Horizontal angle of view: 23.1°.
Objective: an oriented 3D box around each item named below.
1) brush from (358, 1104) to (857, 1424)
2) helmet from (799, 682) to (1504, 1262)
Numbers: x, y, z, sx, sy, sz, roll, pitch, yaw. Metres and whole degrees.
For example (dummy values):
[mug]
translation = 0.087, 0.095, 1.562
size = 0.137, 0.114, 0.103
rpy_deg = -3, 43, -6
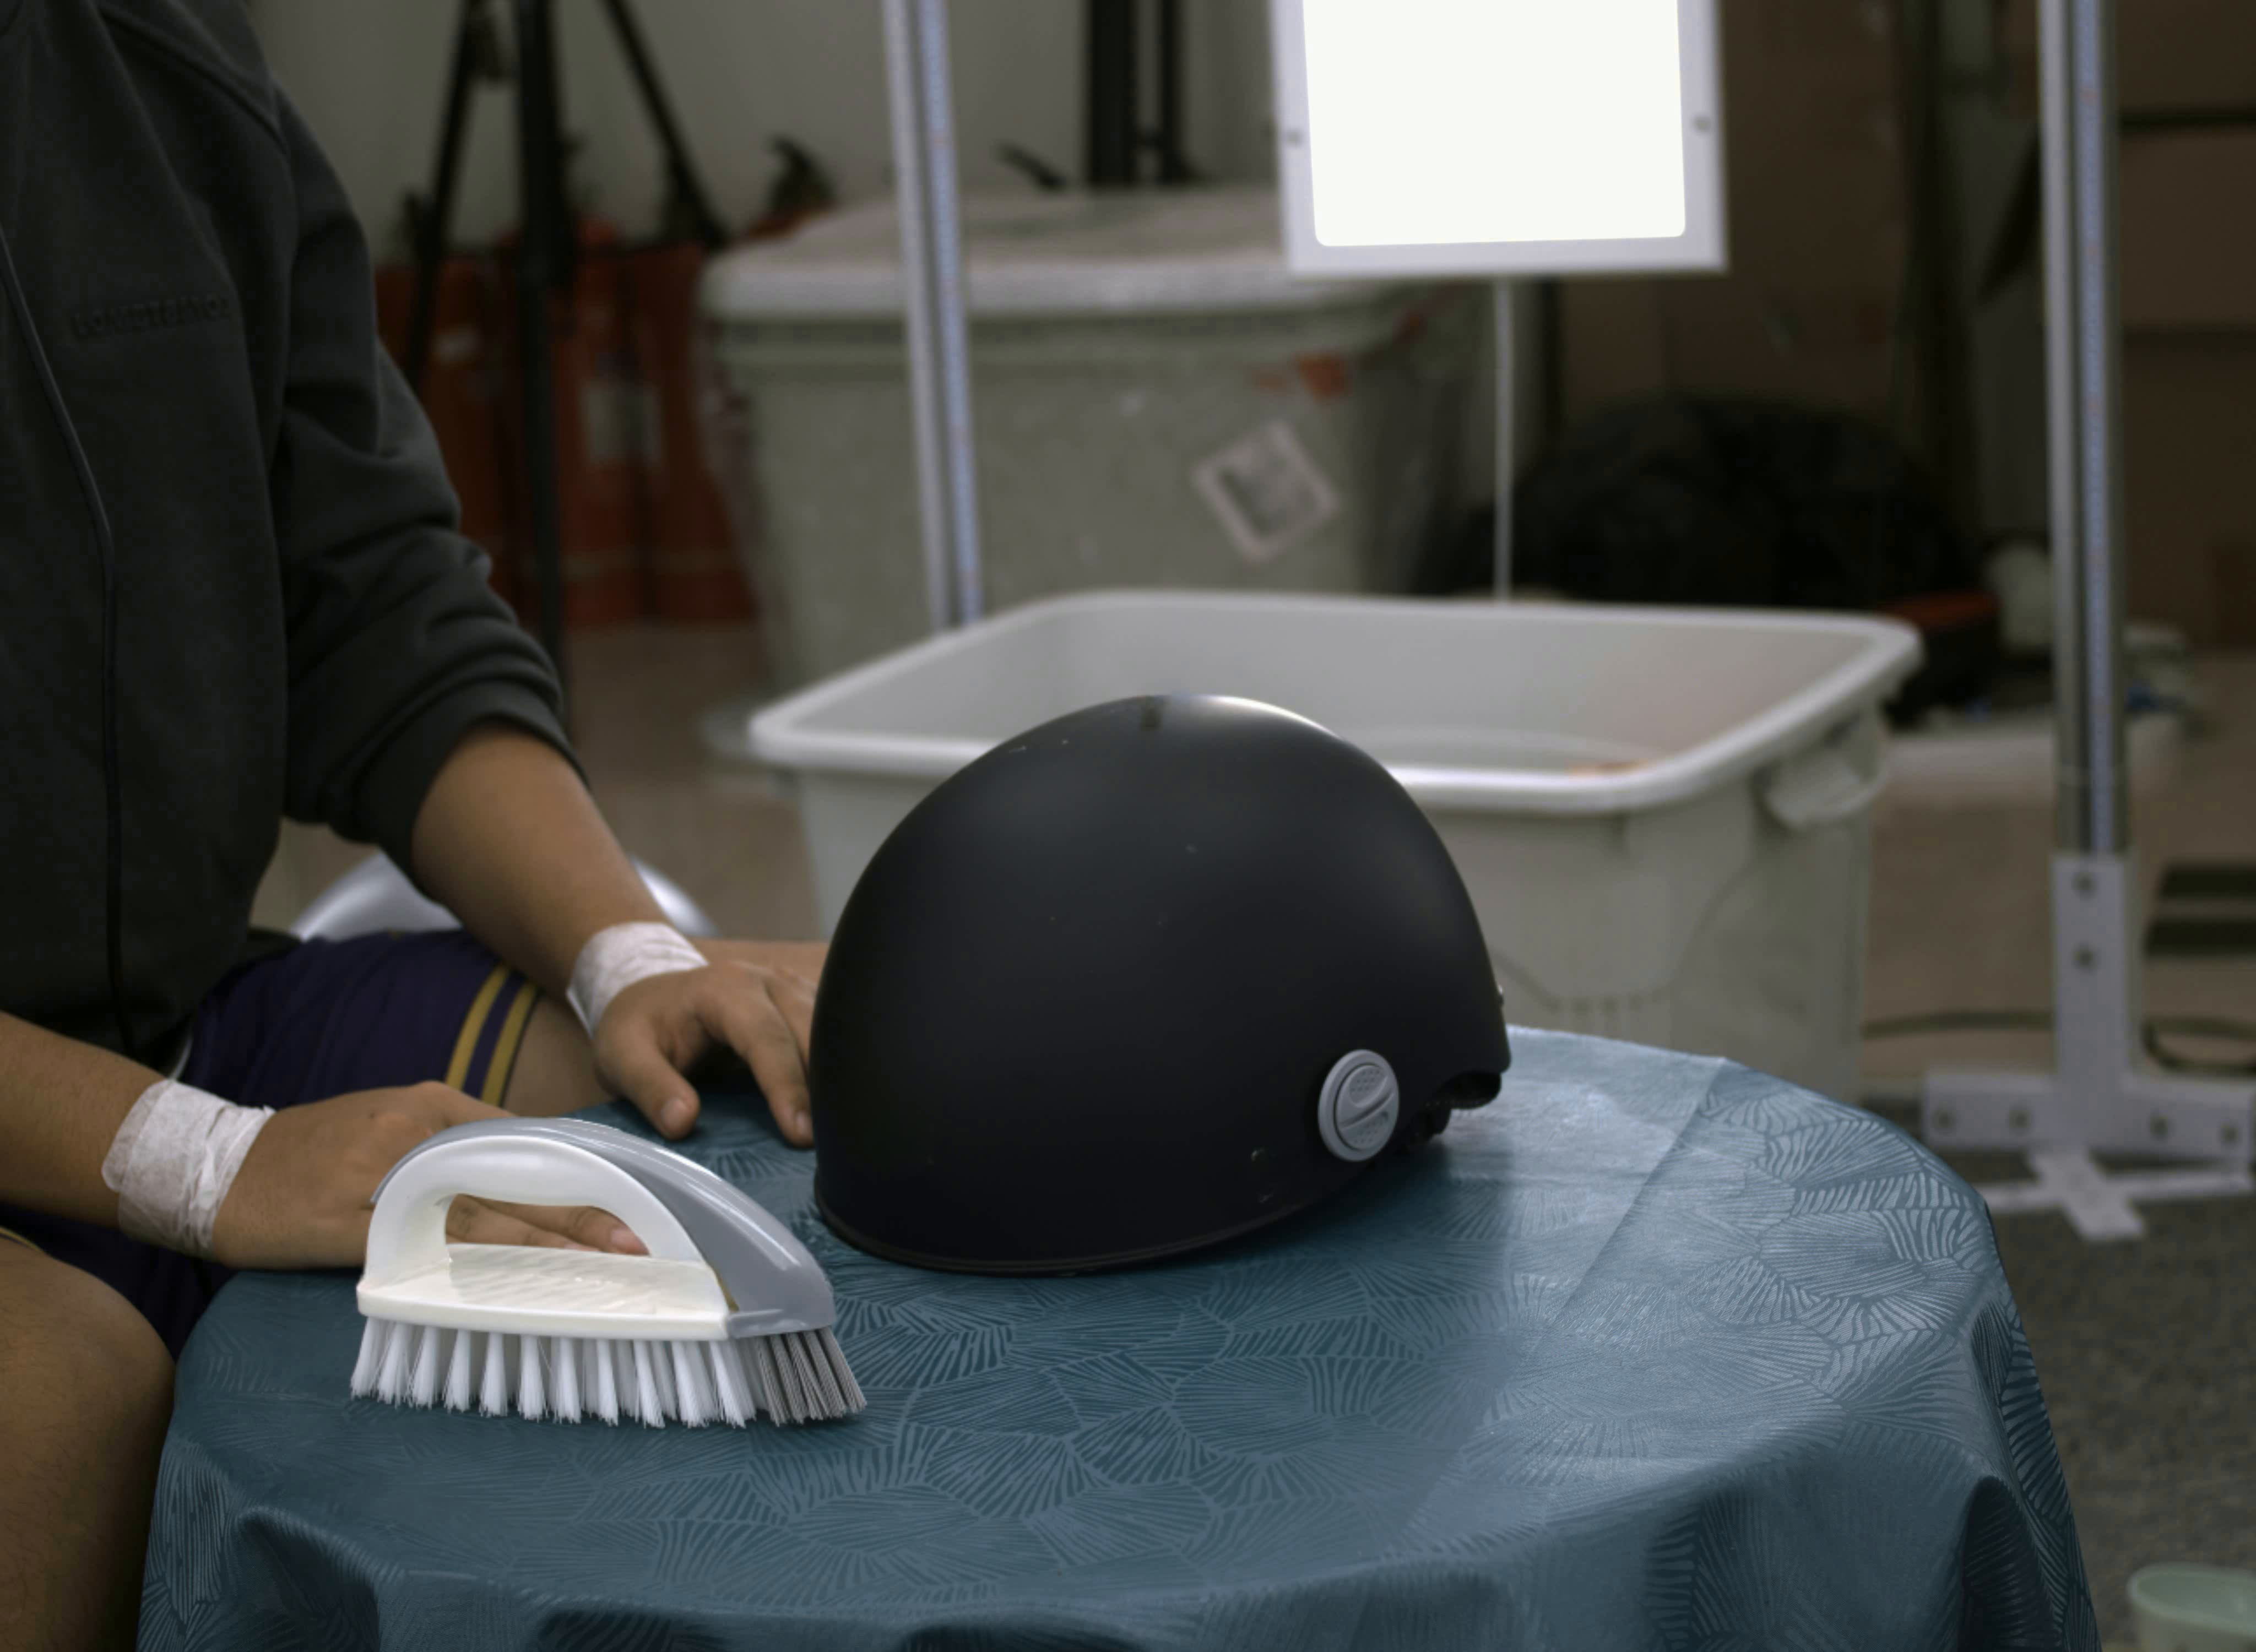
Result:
[brush]
translation = -0.163, 0.135, 1.730
size = 0.179, 0.094, 0.060
rpy_deg = 5, 18, 30
[helmet]
translation = 0.003, 0.040, 1.915
size = 0.235, 0.167, 0.266
rpy_deg = 5, 19, 37
